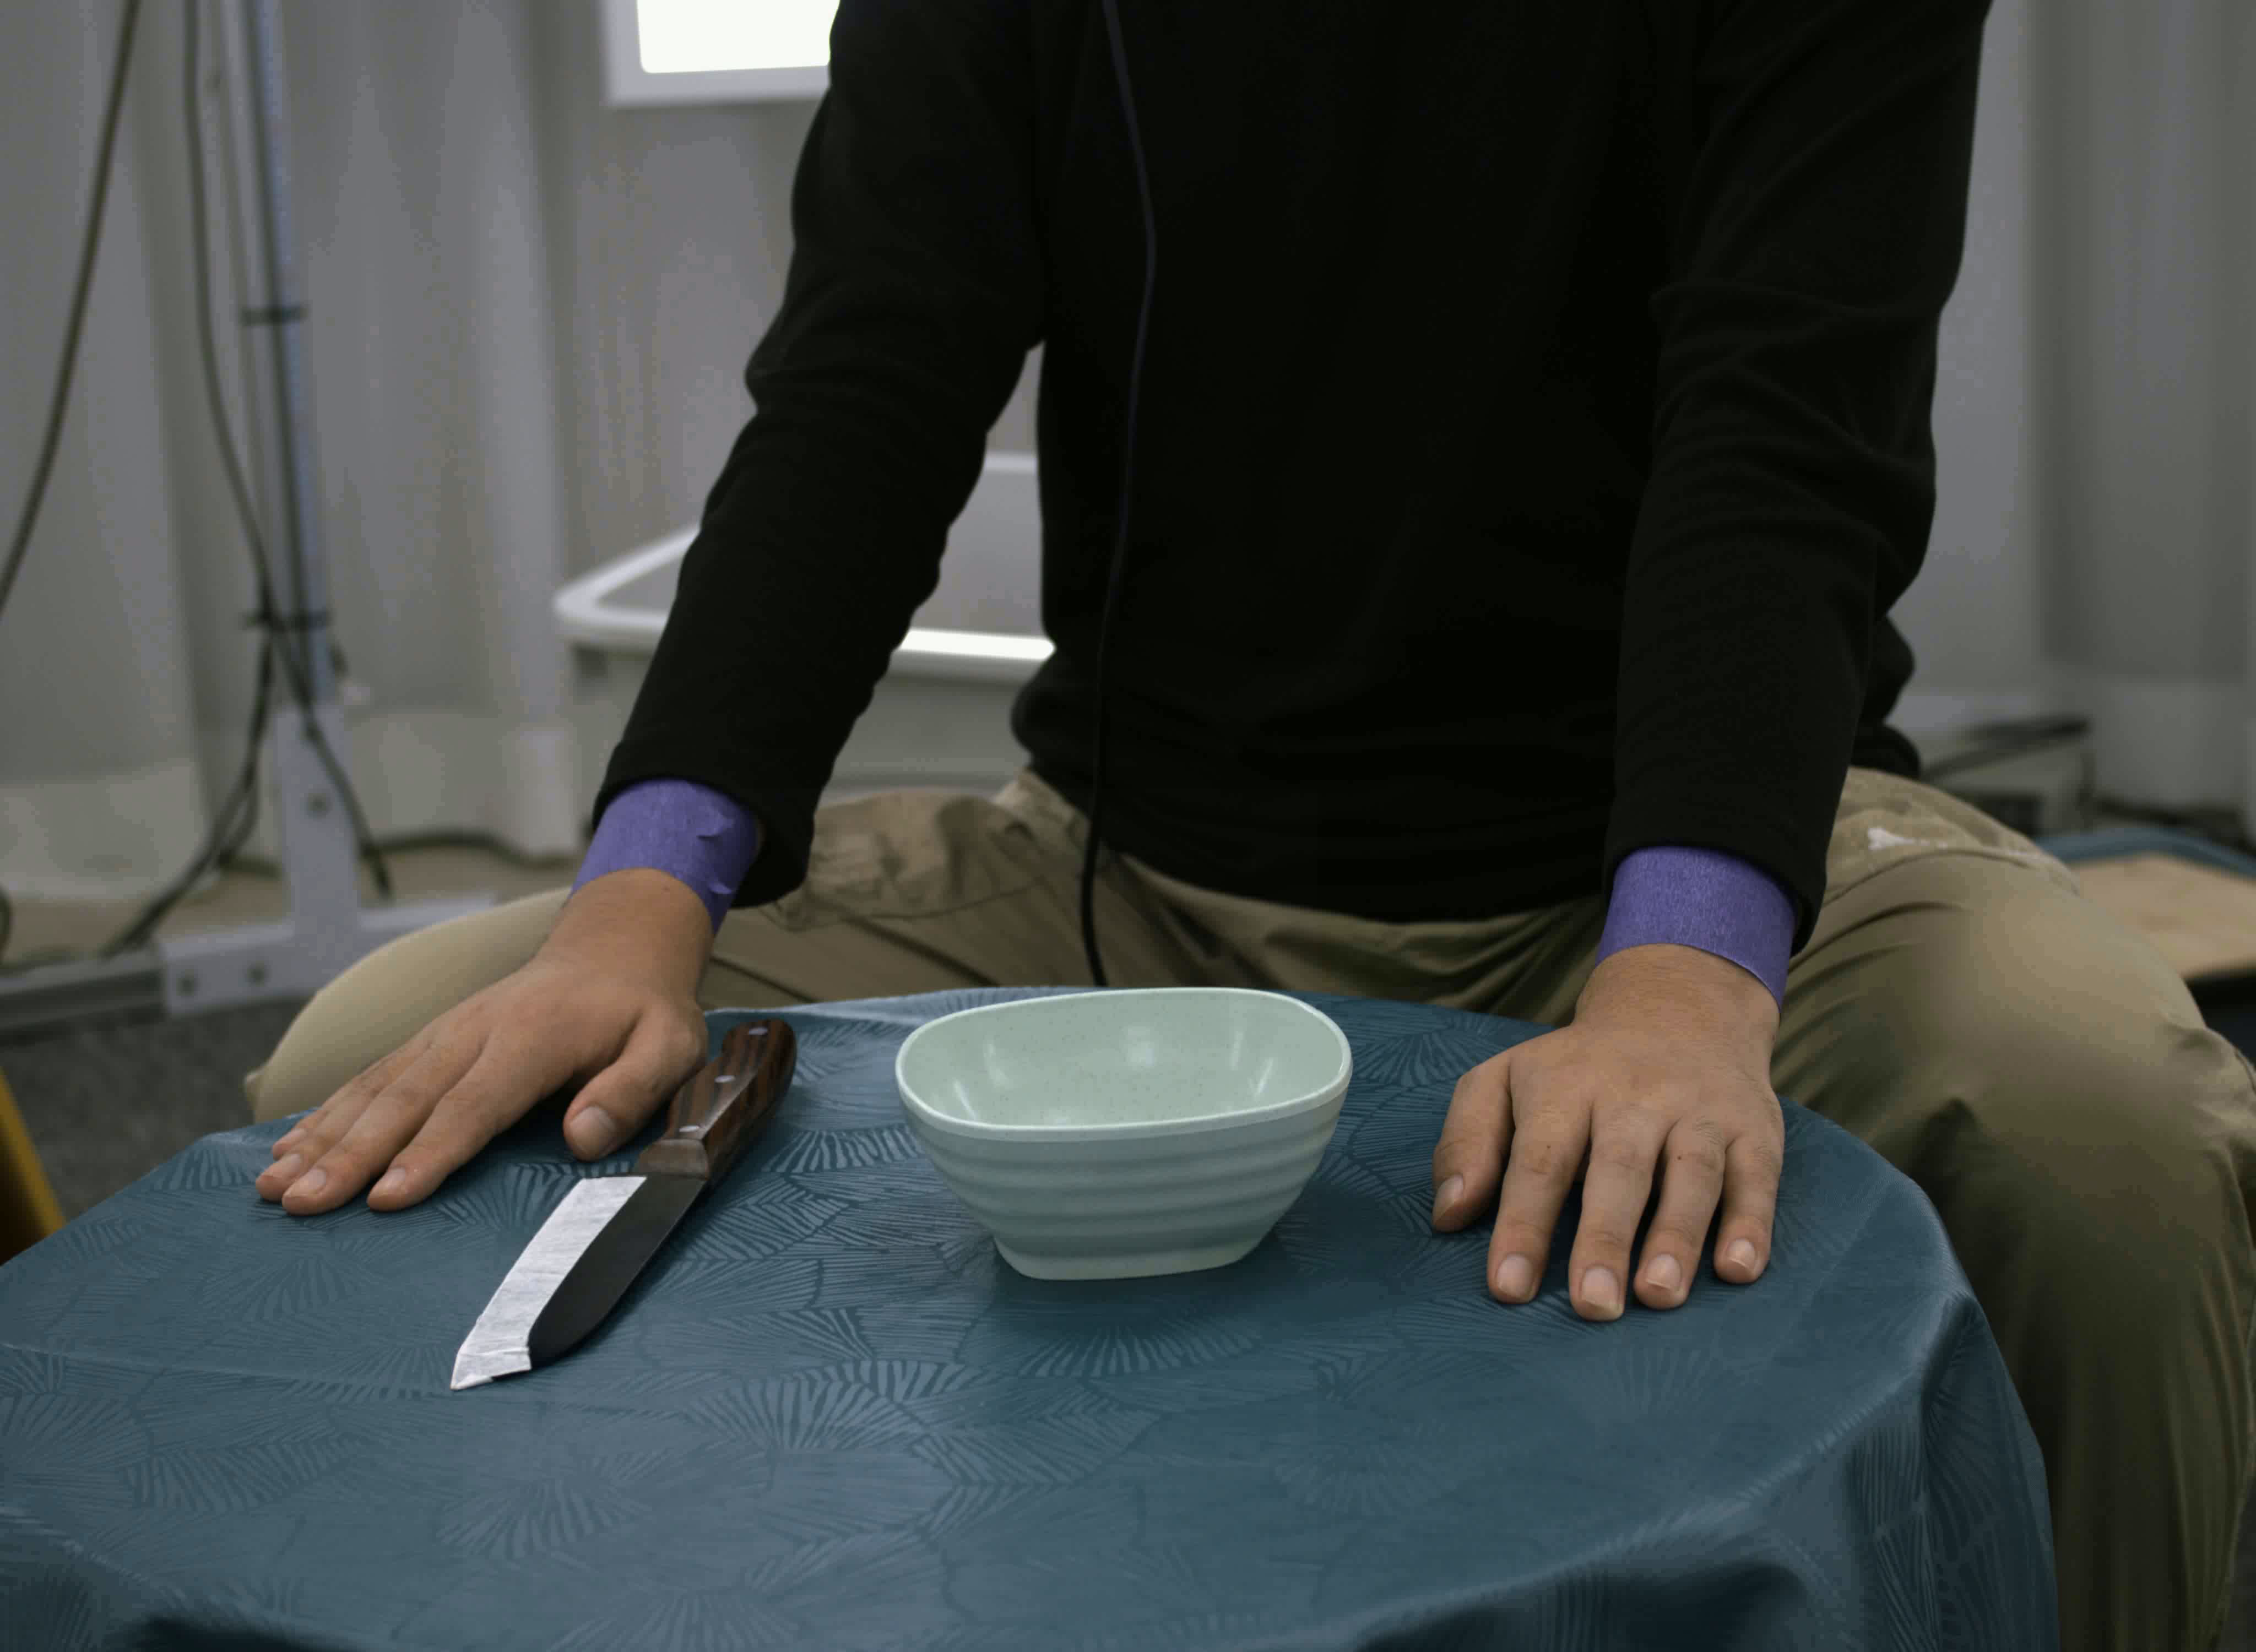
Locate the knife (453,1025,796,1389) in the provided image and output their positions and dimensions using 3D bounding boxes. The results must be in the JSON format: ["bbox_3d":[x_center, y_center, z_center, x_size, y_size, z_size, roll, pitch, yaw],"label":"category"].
[{"bbox_3d":[-0.154,0.118,1.703,0.050,0.020,0.290,-4,16,16],"label":"knife"}]

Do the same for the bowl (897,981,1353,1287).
[{"bbox_3d":[0.000,0.097,1.670,0.151,0.058,0.152,-3,17,1],"label":"bowl"}]
